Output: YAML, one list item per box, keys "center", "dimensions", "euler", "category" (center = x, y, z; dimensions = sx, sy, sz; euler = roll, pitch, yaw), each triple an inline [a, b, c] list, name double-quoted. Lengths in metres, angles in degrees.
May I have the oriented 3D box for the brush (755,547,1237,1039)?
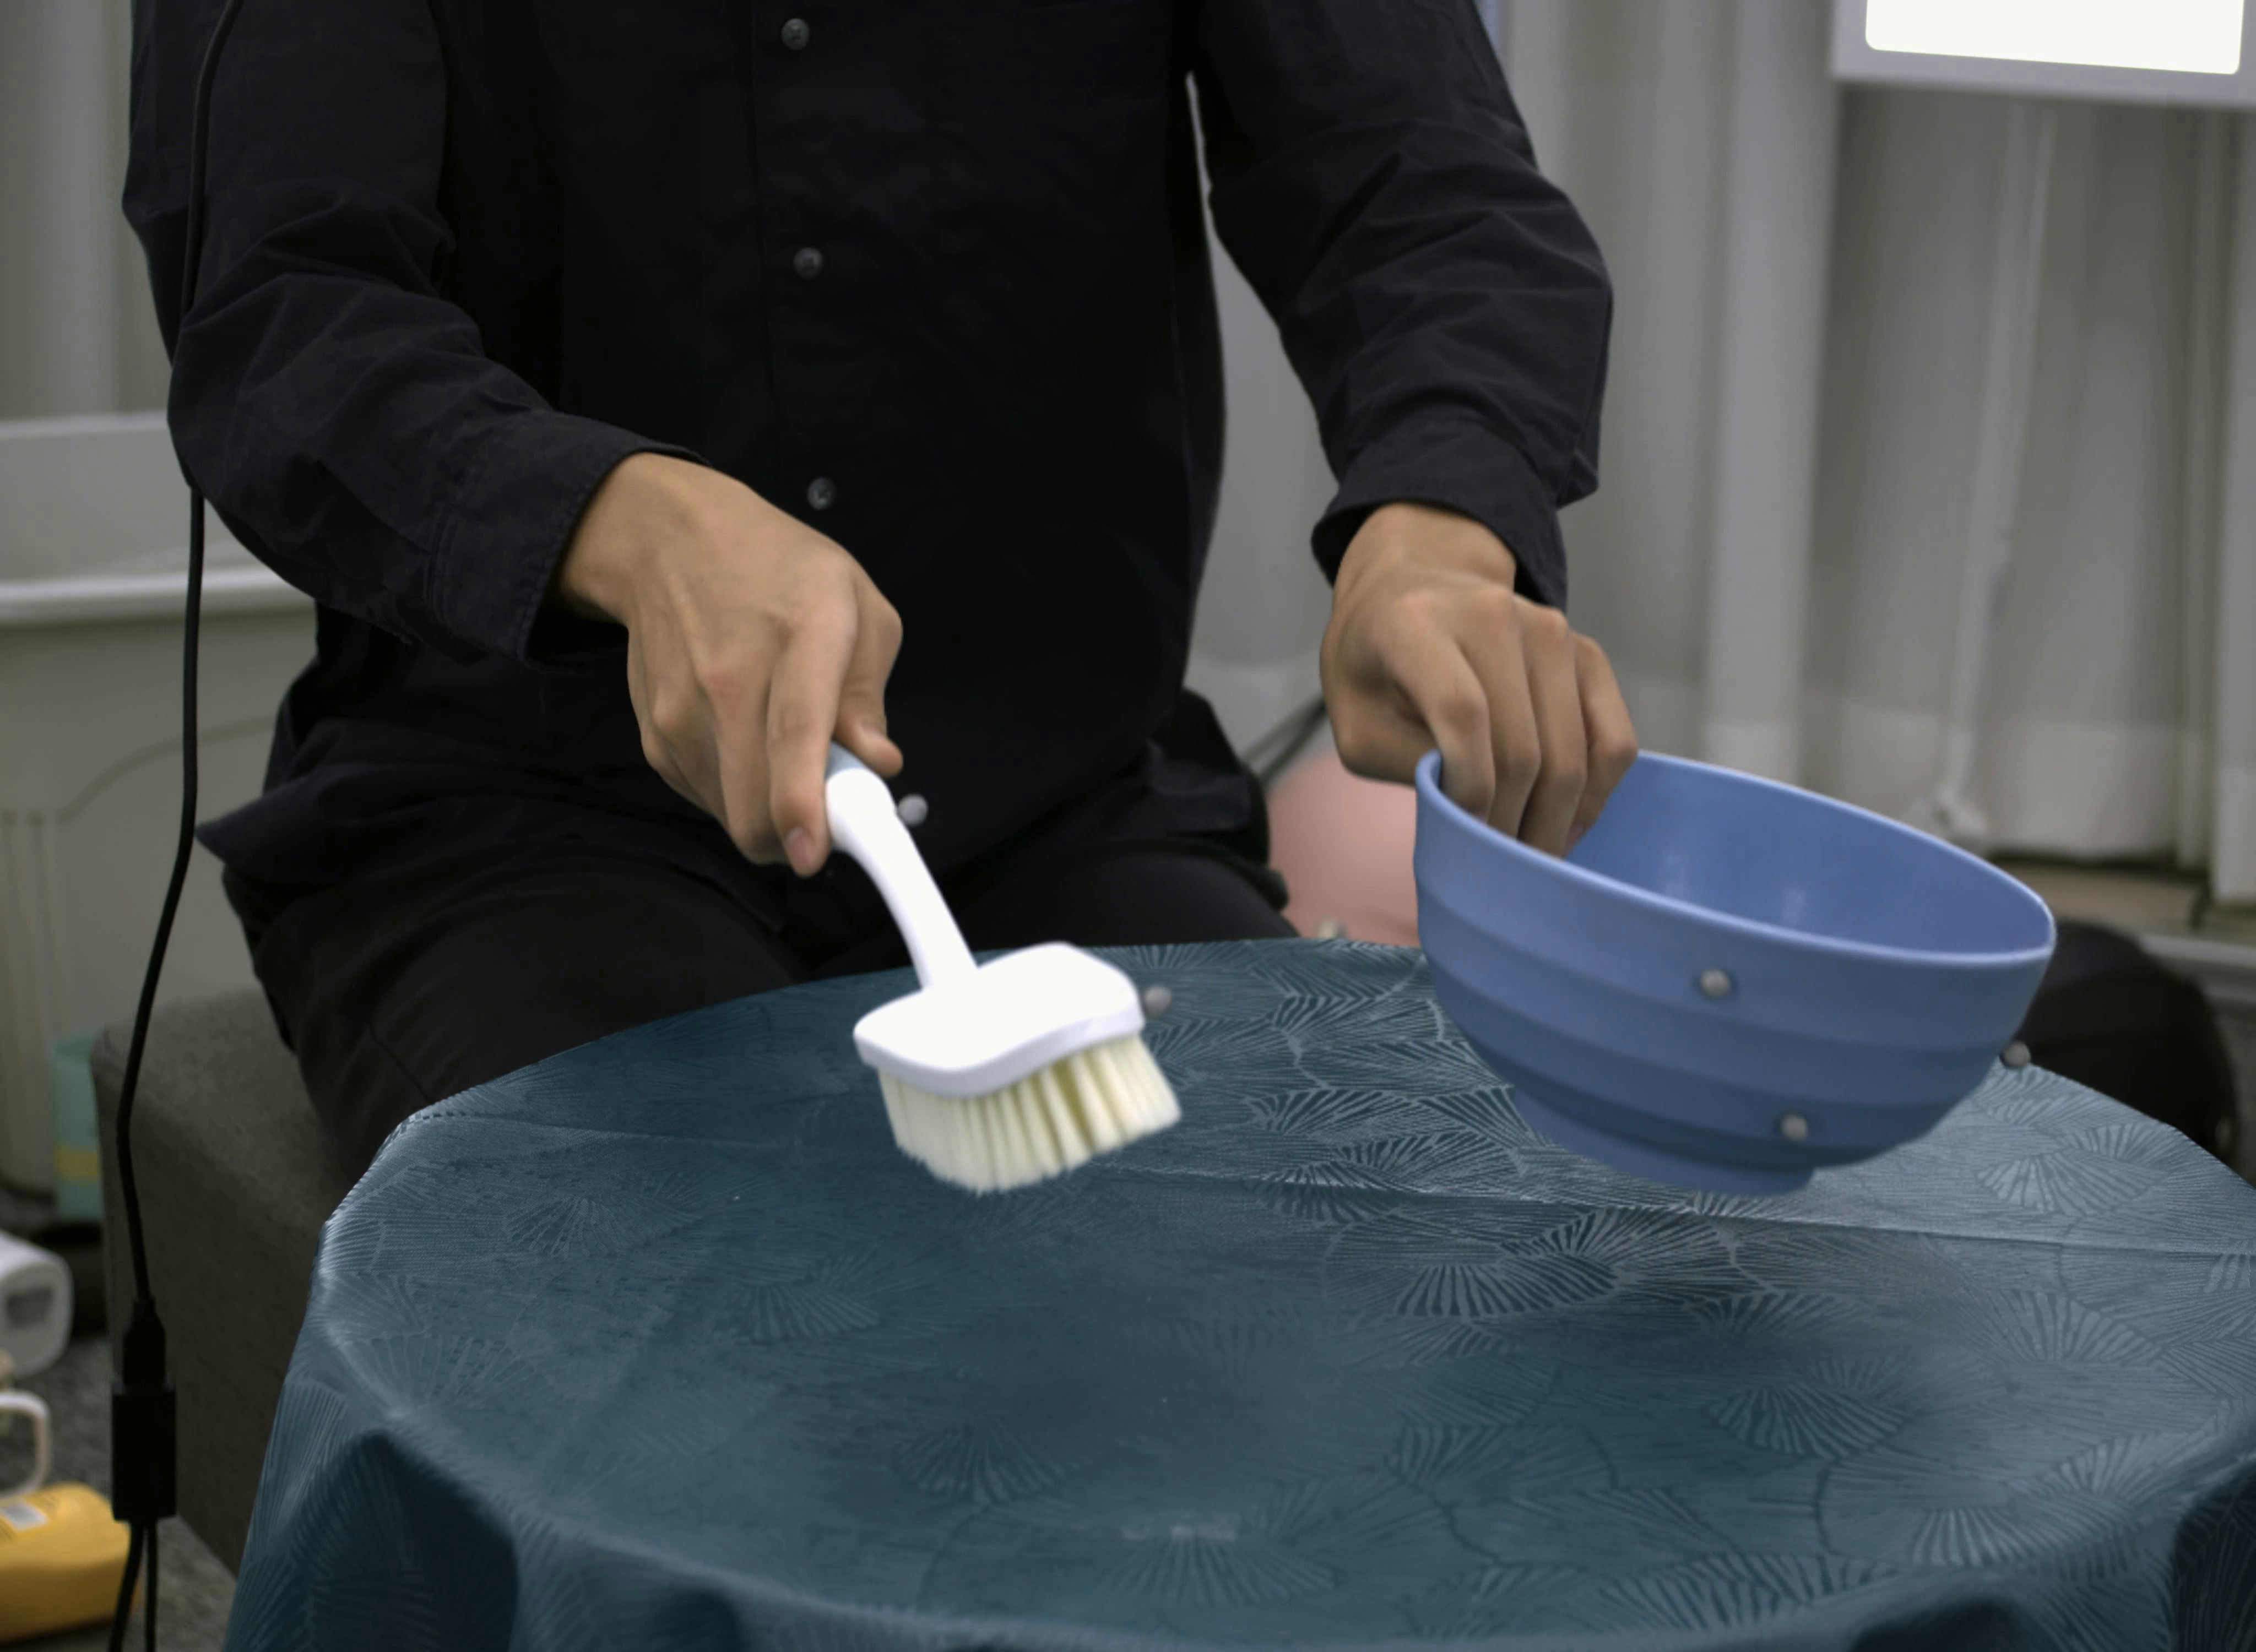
- center: [-0.041, -0.001, 1.553]
  dimensions: [0.083, 0.085, 0.321]
  euler: [16, 11, -26]
  category: "brush"

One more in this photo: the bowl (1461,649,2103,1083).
- center: [0.186, 0.018, 1.588]
  dimensions: [0.196, 0.096, 0.195]
  euler: [12, 13, -2]
  category: "bowl"
